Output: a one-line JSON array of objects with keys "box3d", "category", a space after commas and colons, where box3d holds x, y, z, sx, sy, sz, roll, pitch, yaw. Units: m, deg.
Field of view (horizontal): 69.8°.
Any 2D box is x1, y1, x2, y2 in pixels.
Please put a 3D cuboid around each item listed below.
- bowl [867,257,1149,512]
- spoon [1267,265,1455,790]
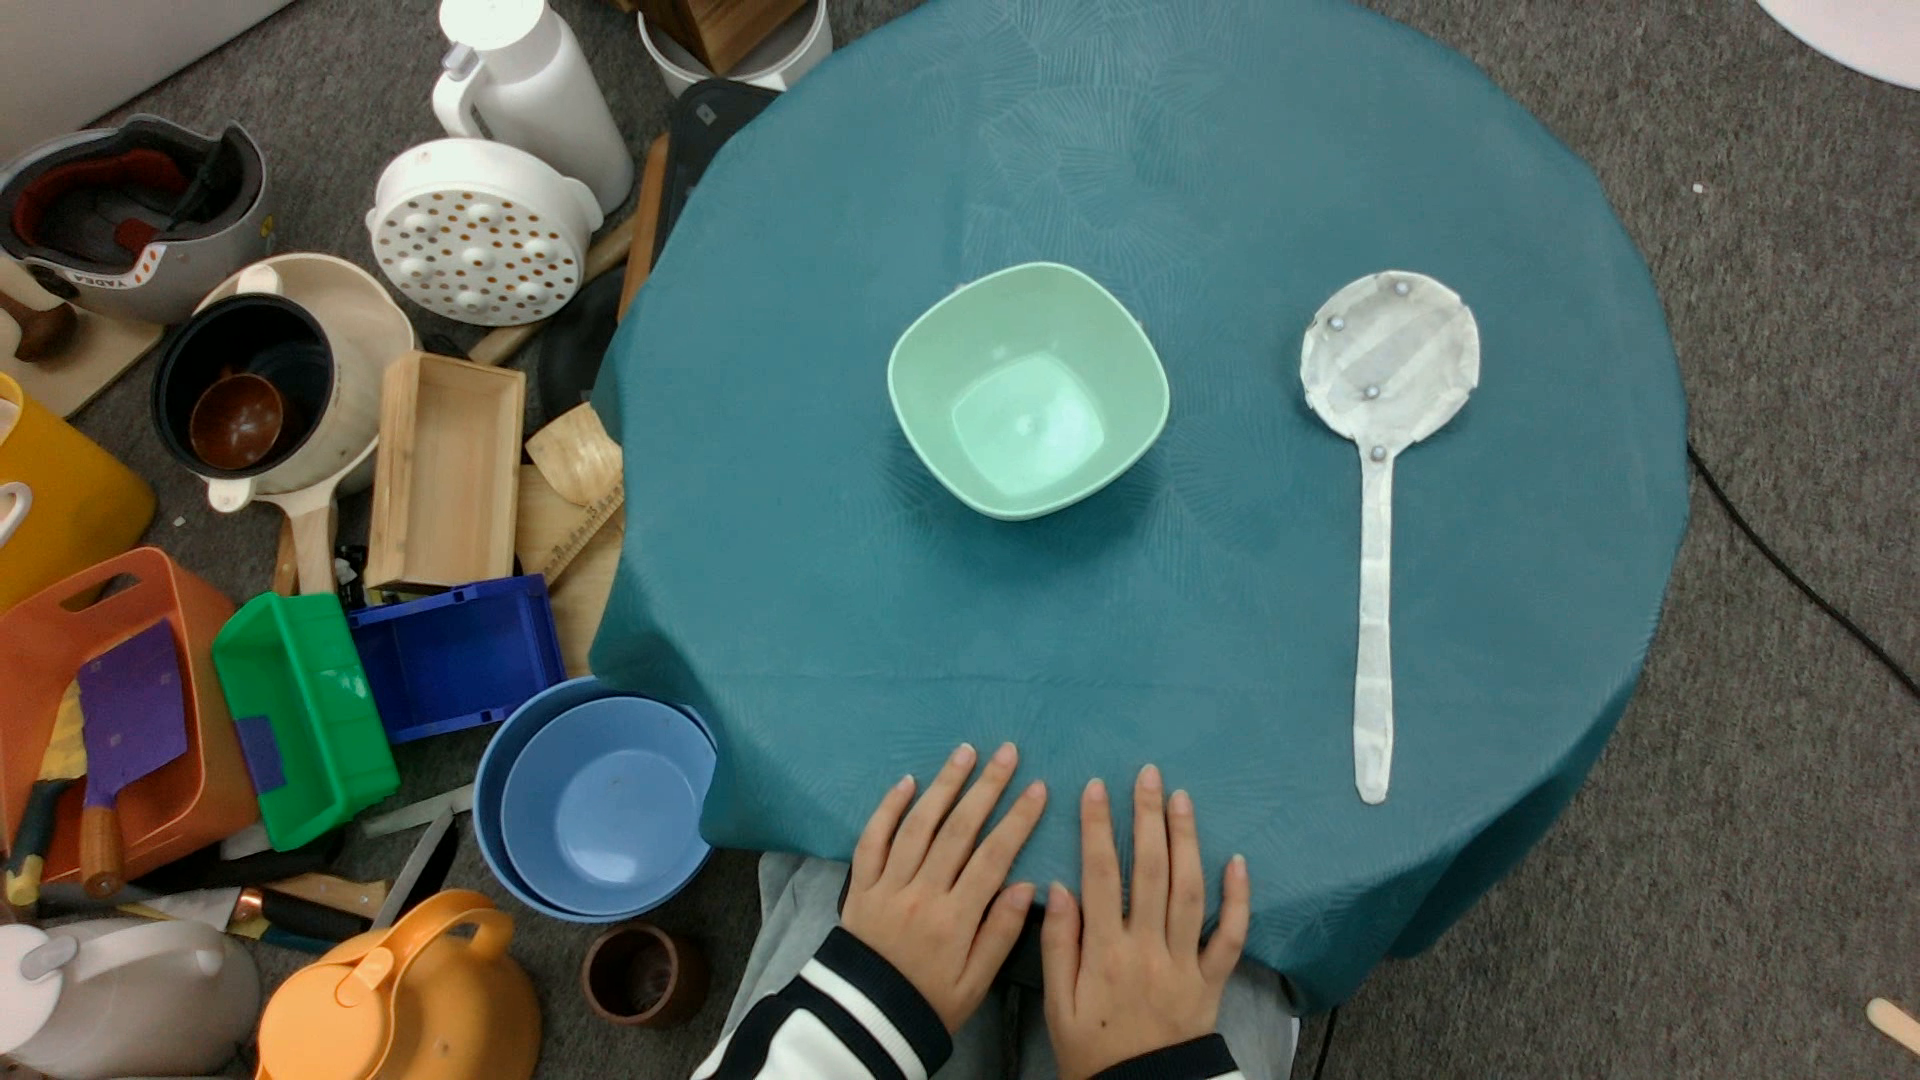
[{"box3d": [0.026, -0.076, 0.754, 0.151, 0.058, 0.152, -1, 69, 2], "category": "bowl"}, {"box3d": [0.202, -0.011, 0.721, 0.100, 0.059, 0.278, 7, 69, 10], "category": "spoon"}]
